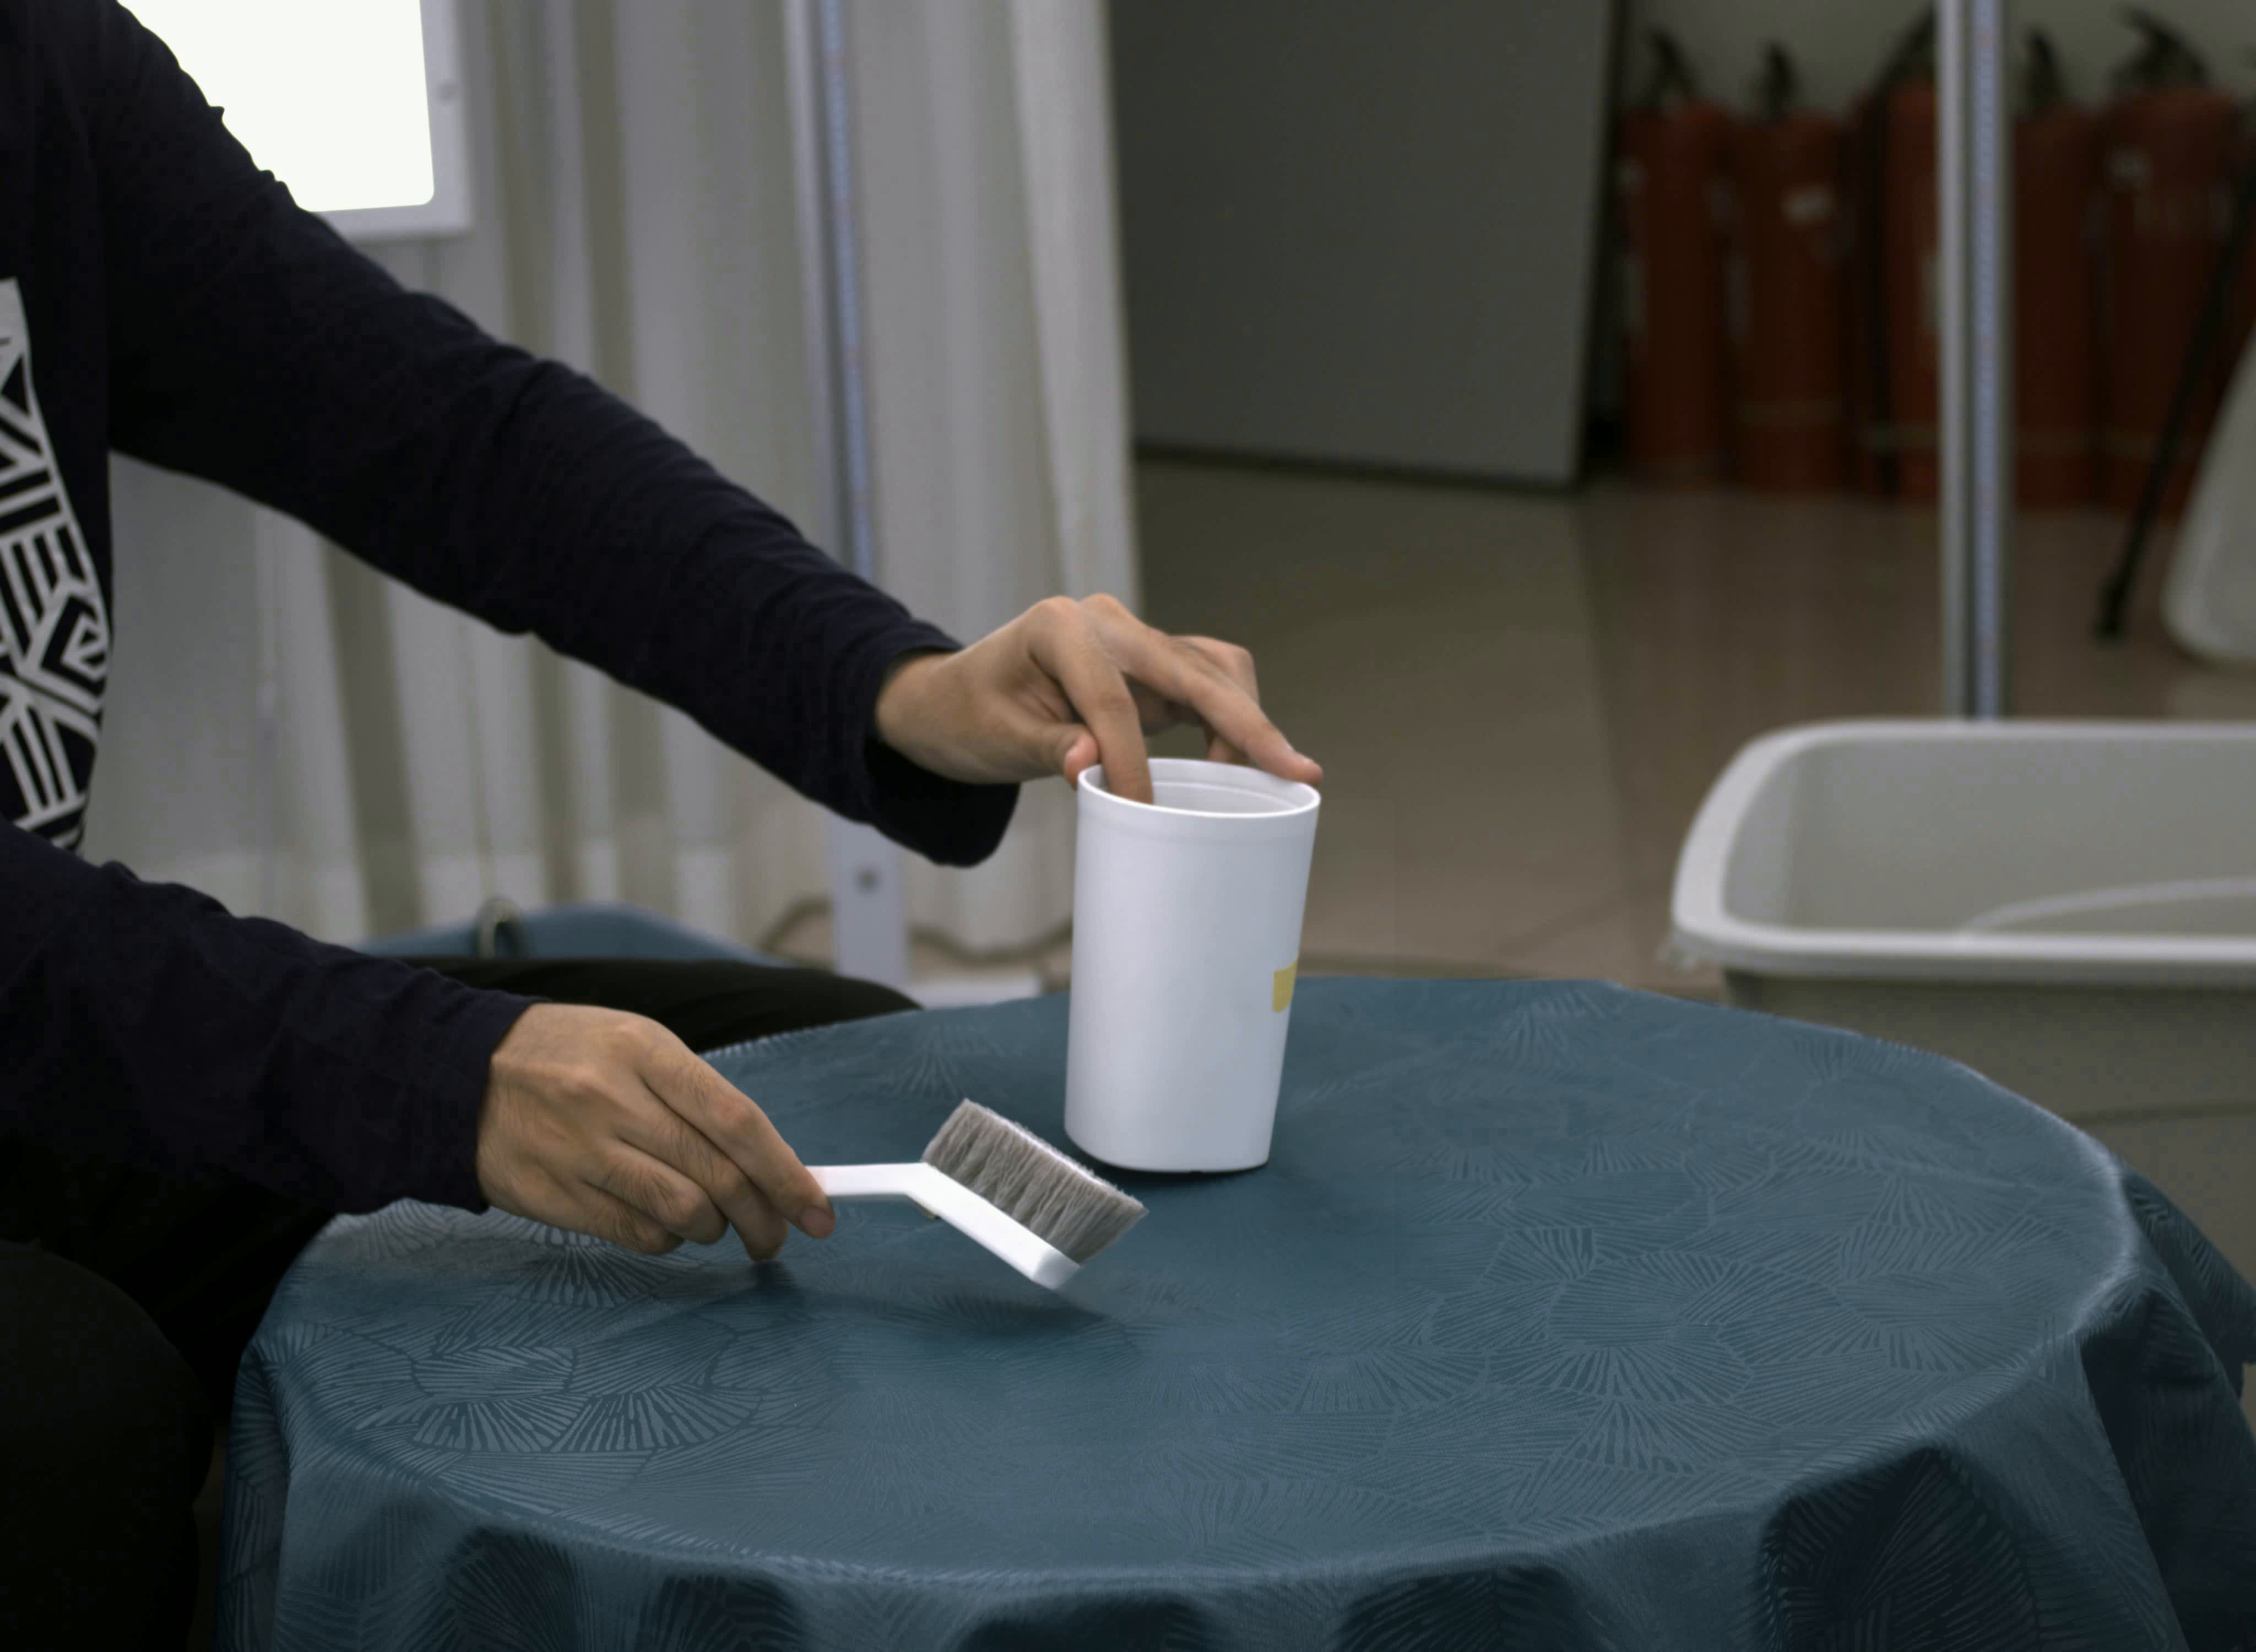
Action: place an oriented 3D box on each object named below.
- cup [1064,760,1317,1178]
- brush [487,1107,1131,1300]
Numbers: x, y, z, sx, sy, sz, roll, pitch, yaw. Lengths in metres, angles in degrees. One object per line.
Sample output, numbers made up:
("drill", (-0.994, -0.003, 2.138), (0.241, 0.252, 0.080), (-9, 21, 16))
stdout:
("cup", (0.018, 0.048, 1.792), (0.080, 0.127, 0.082), (4, 11, -2))
("brush", (-0.104, 0.103, 1.709), (0.245, 0.051, 0.034), (11, -3, 35))
